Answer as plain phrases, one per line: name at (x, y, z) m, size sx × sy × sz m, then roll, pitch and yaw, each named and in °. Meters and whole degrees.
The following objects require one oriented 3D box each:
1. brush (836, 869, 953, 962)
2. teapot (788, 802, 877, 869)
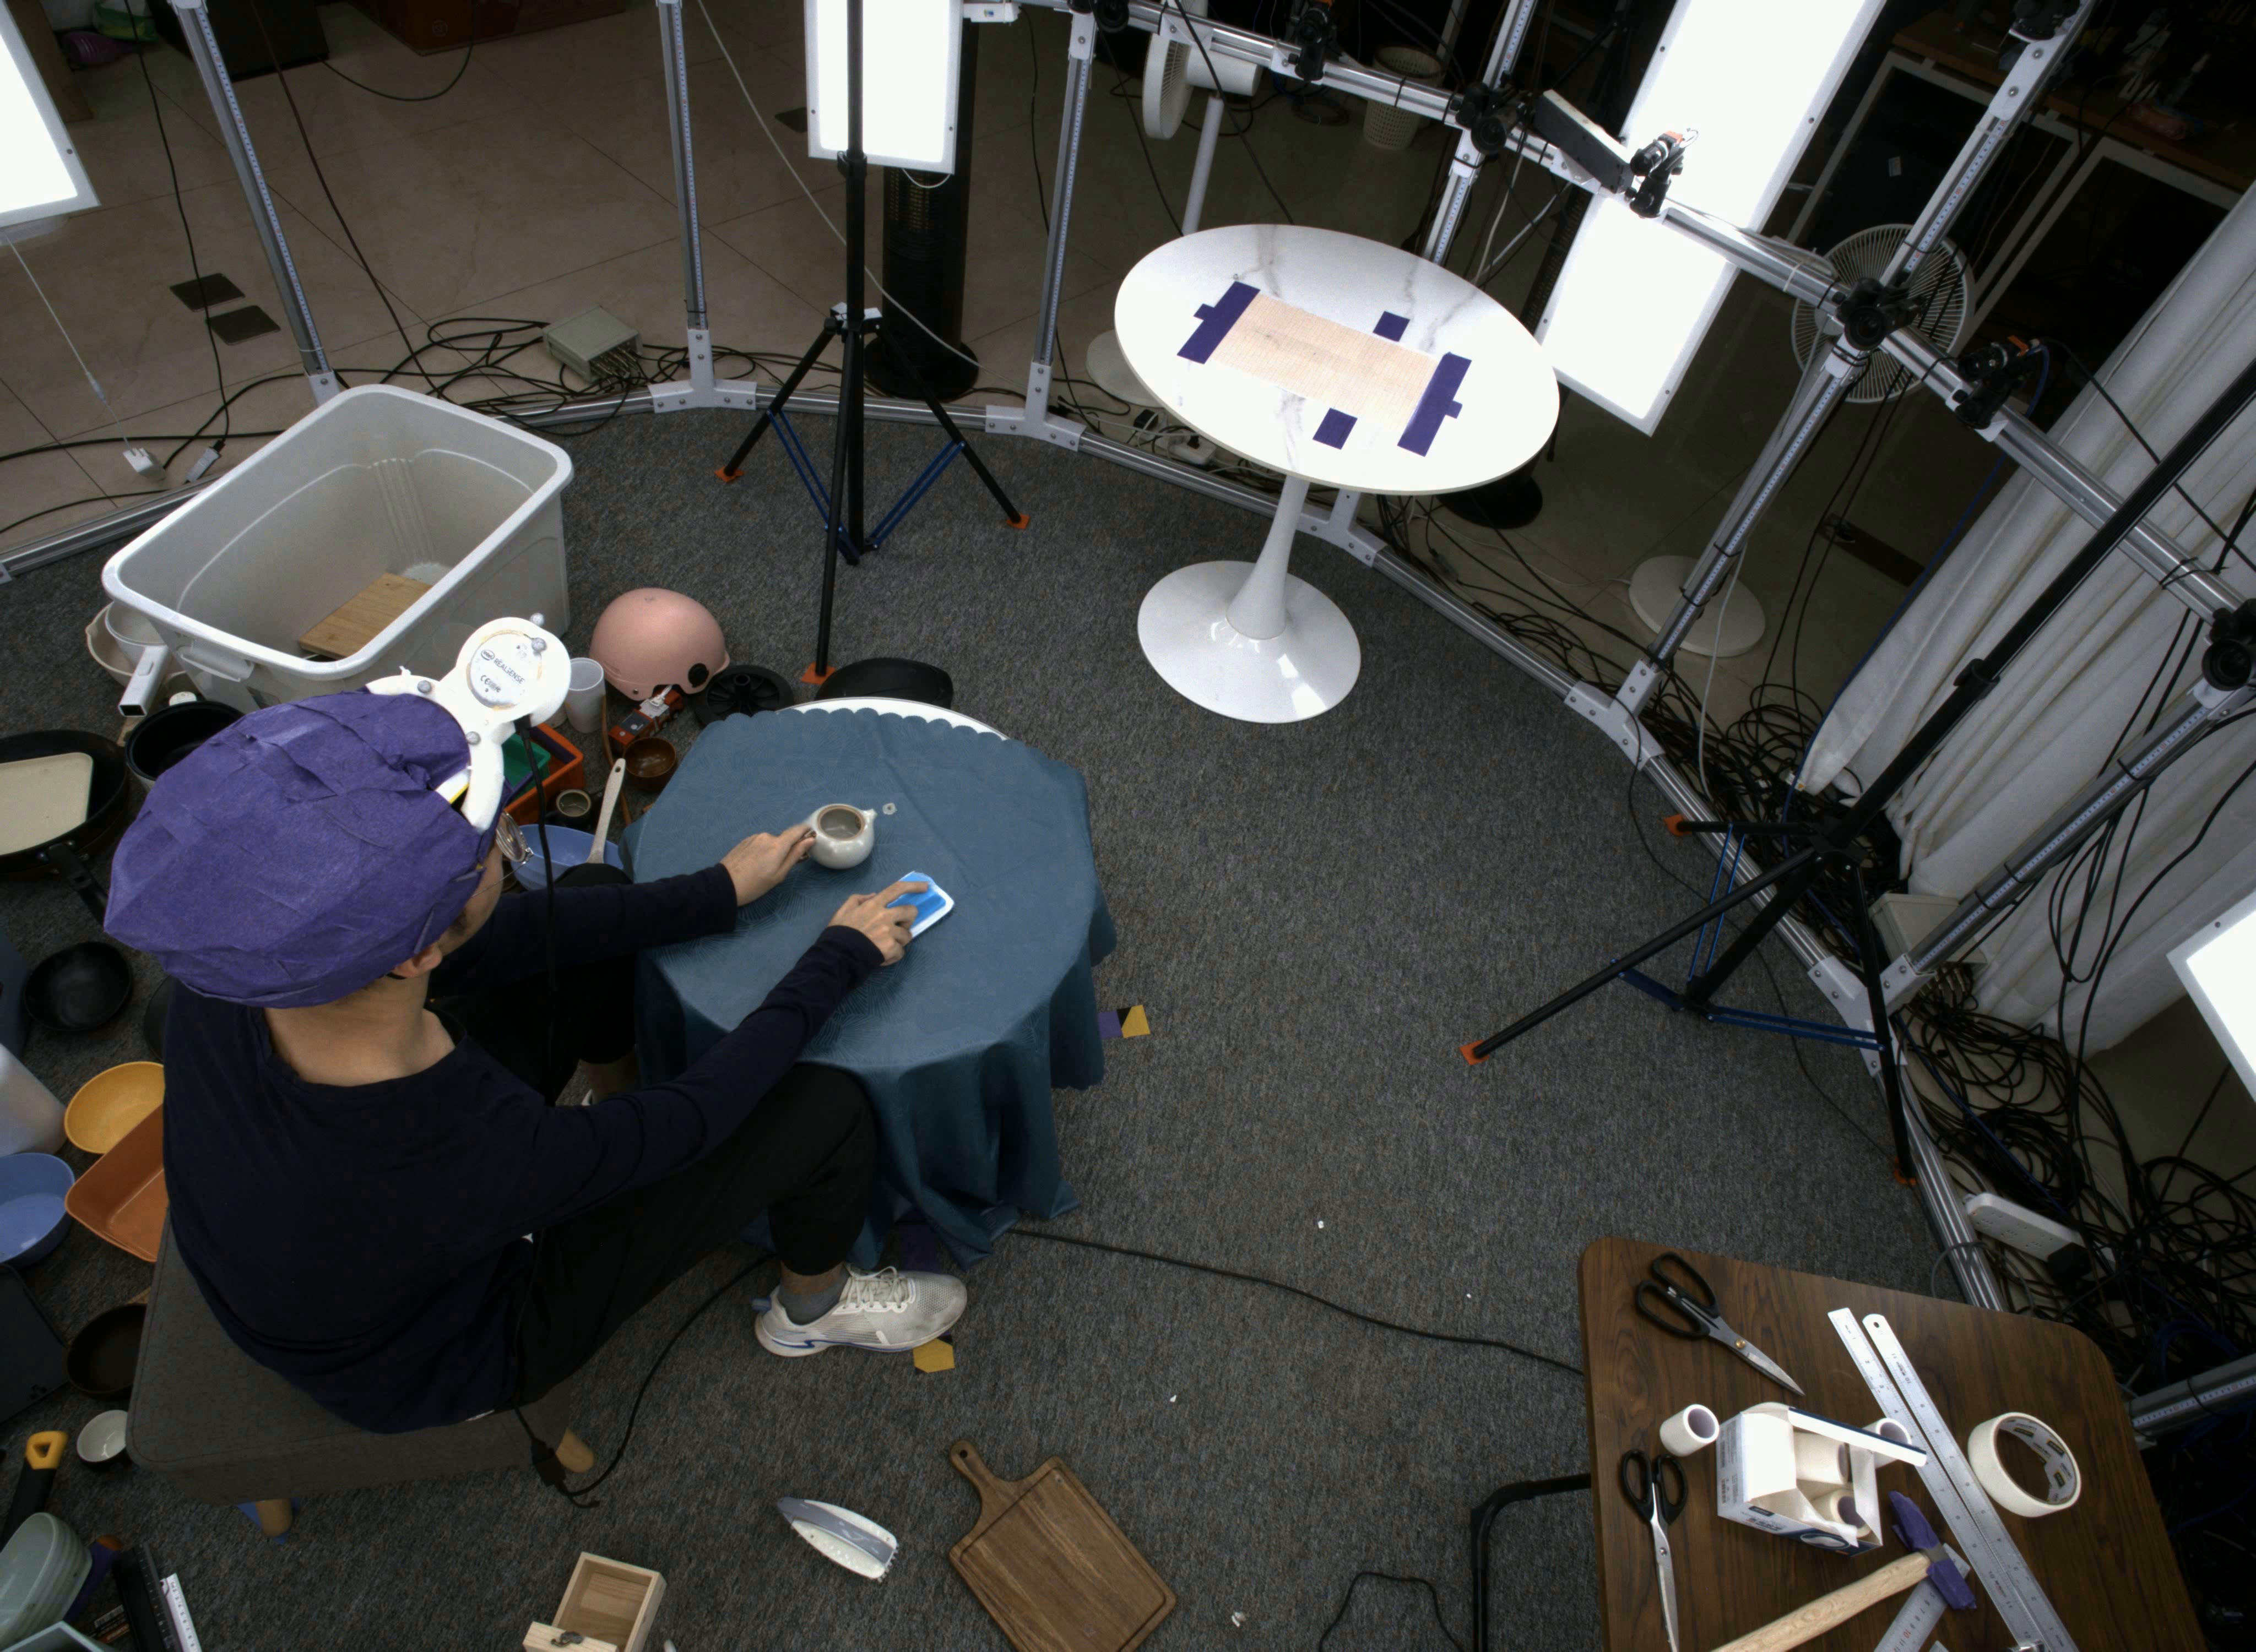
brush at (-0.294, 0.104, 1.641) m, size 0.081 × 0.057 × 0.144 m, roll 41°, pitch 53°, yaw 22°
teapot at (-0.383, 0.015, 1.681) m, size 0.129 × 0.060 × 0.090 m, roll -24°, pitch 63°, yaw -38°
